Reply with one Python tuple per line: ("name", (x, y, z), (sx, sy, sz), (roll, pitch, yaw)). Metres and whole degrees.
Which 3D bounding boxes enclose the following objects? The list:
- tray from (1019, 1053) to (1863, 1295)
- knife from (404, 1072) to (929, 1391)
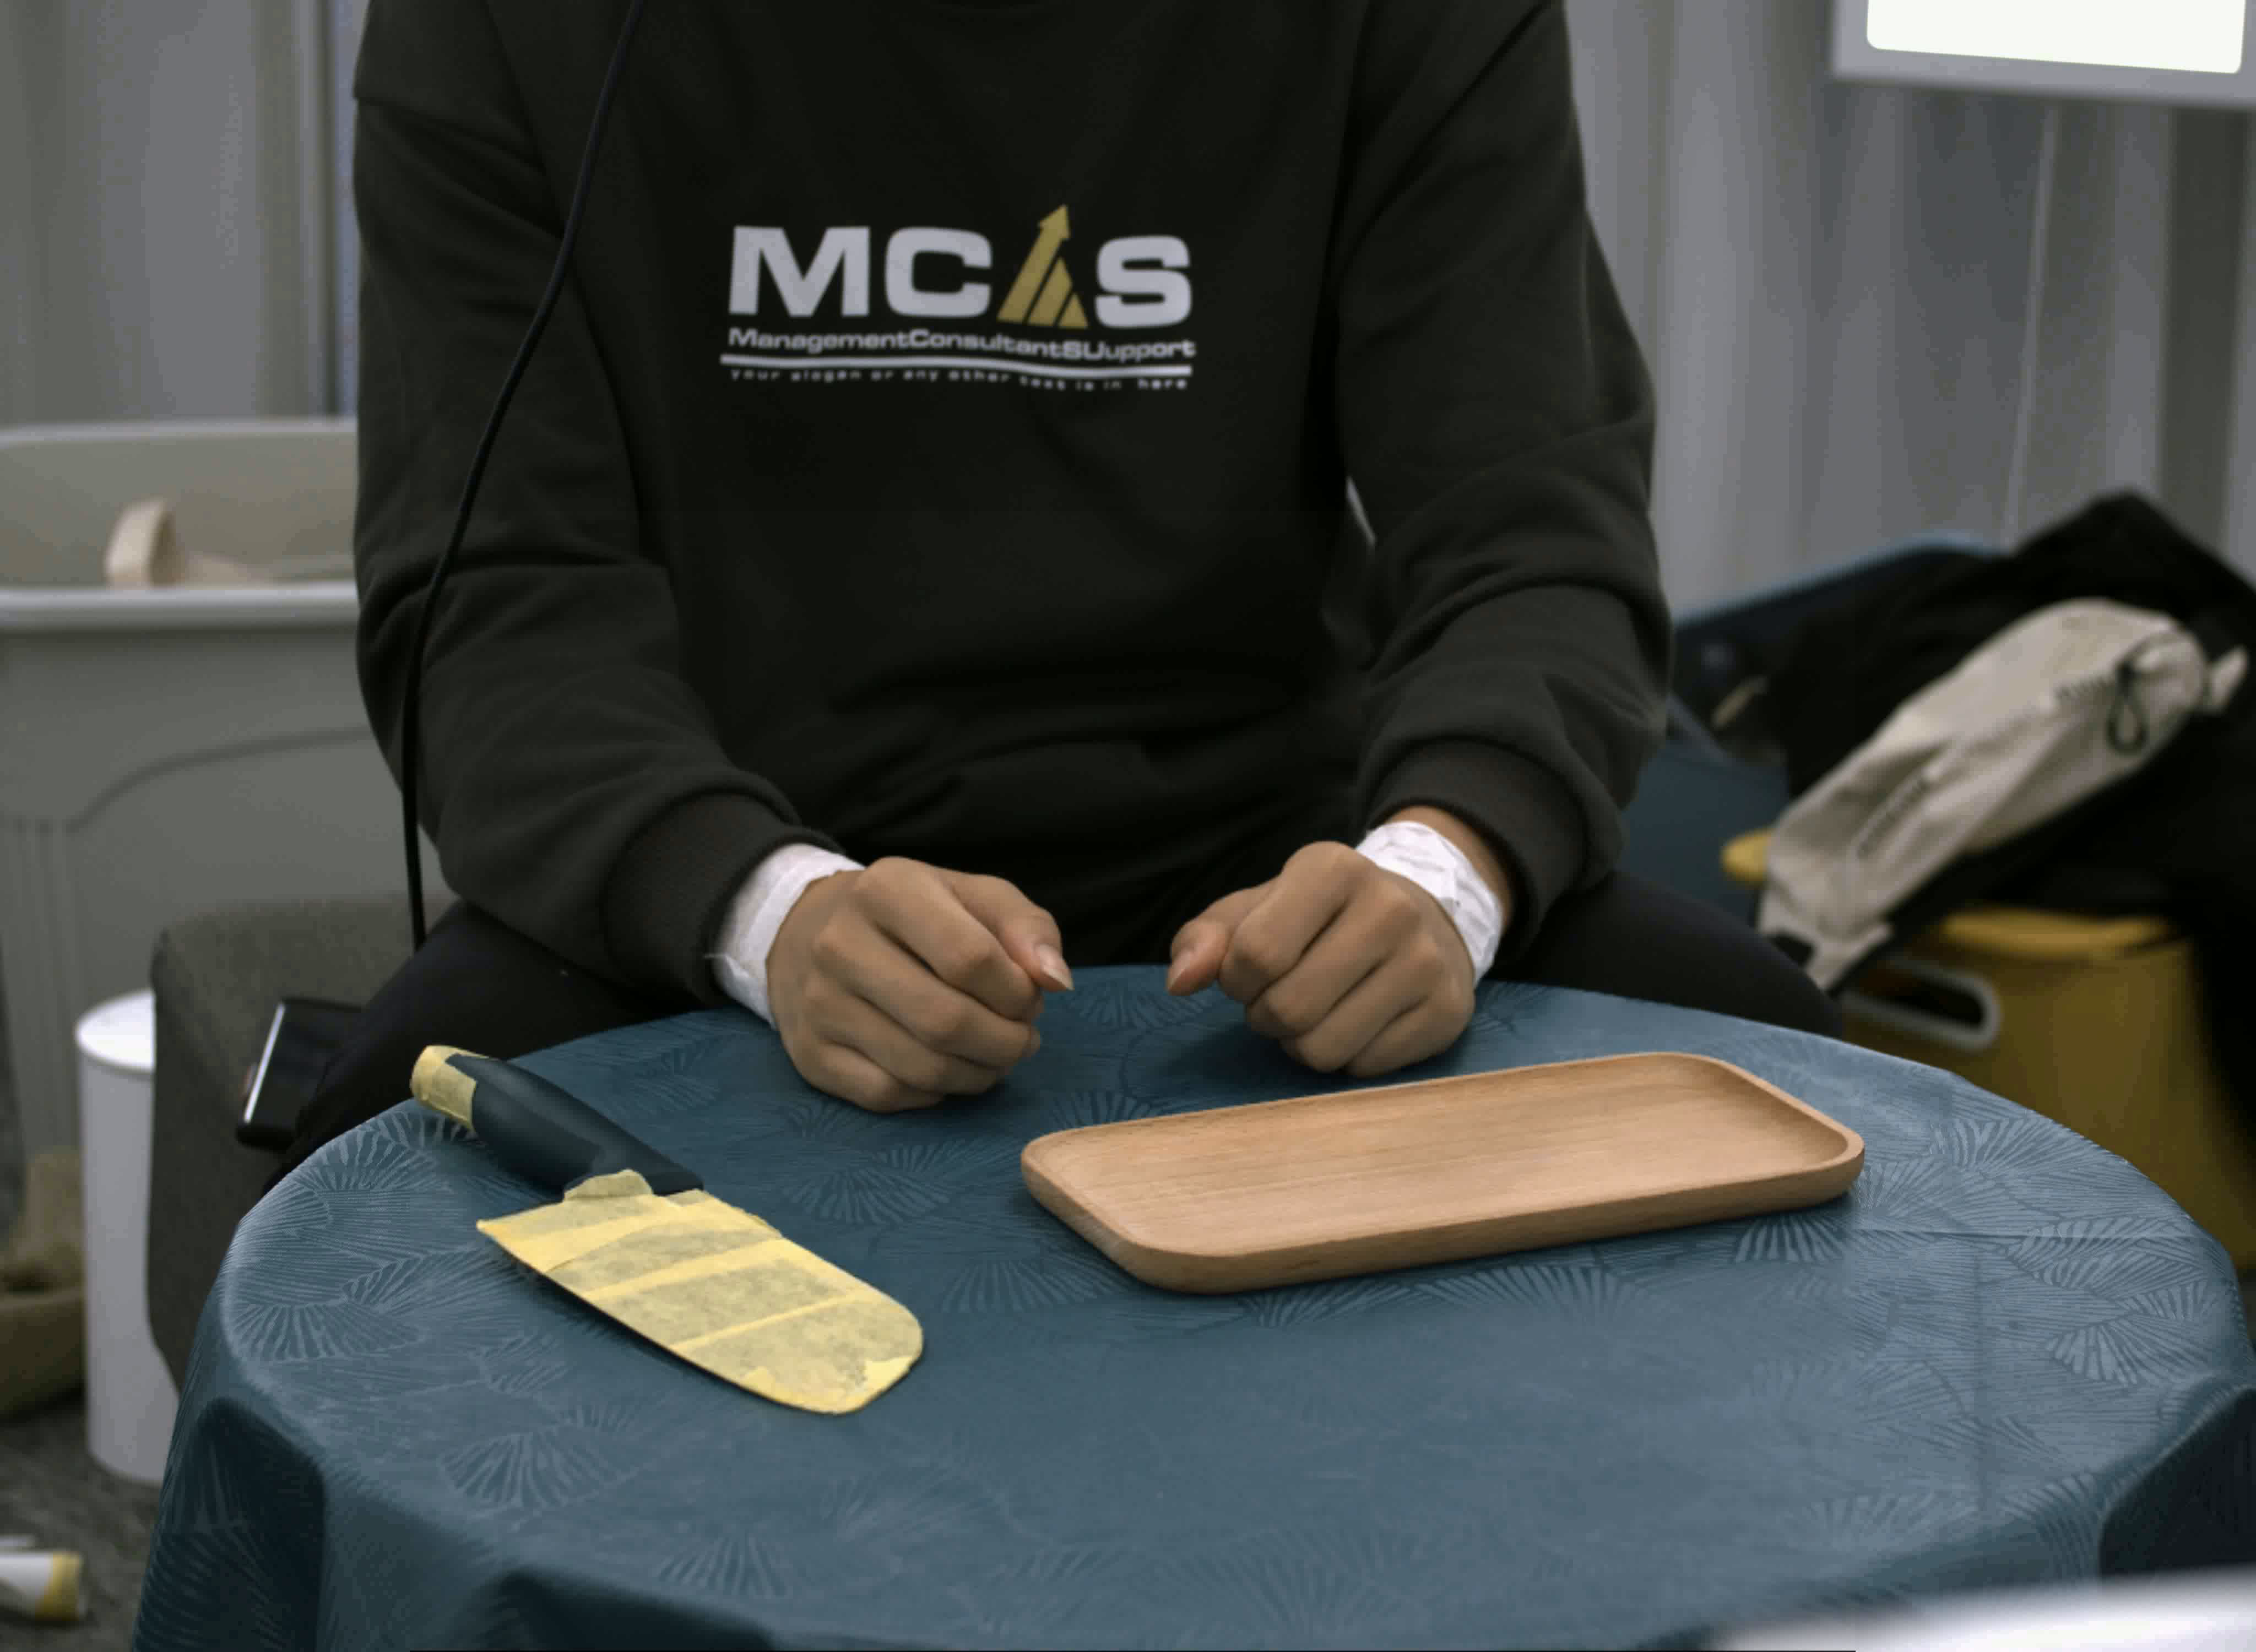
("tray", (0.097, 0.106, 1.622), (0.251, 0.023, 0.129), (-7, 14, -23))
("knife", (-0.150, 0.121, 1.561), (0.081, 0.027, 0.285), (-8, 18, -34))
